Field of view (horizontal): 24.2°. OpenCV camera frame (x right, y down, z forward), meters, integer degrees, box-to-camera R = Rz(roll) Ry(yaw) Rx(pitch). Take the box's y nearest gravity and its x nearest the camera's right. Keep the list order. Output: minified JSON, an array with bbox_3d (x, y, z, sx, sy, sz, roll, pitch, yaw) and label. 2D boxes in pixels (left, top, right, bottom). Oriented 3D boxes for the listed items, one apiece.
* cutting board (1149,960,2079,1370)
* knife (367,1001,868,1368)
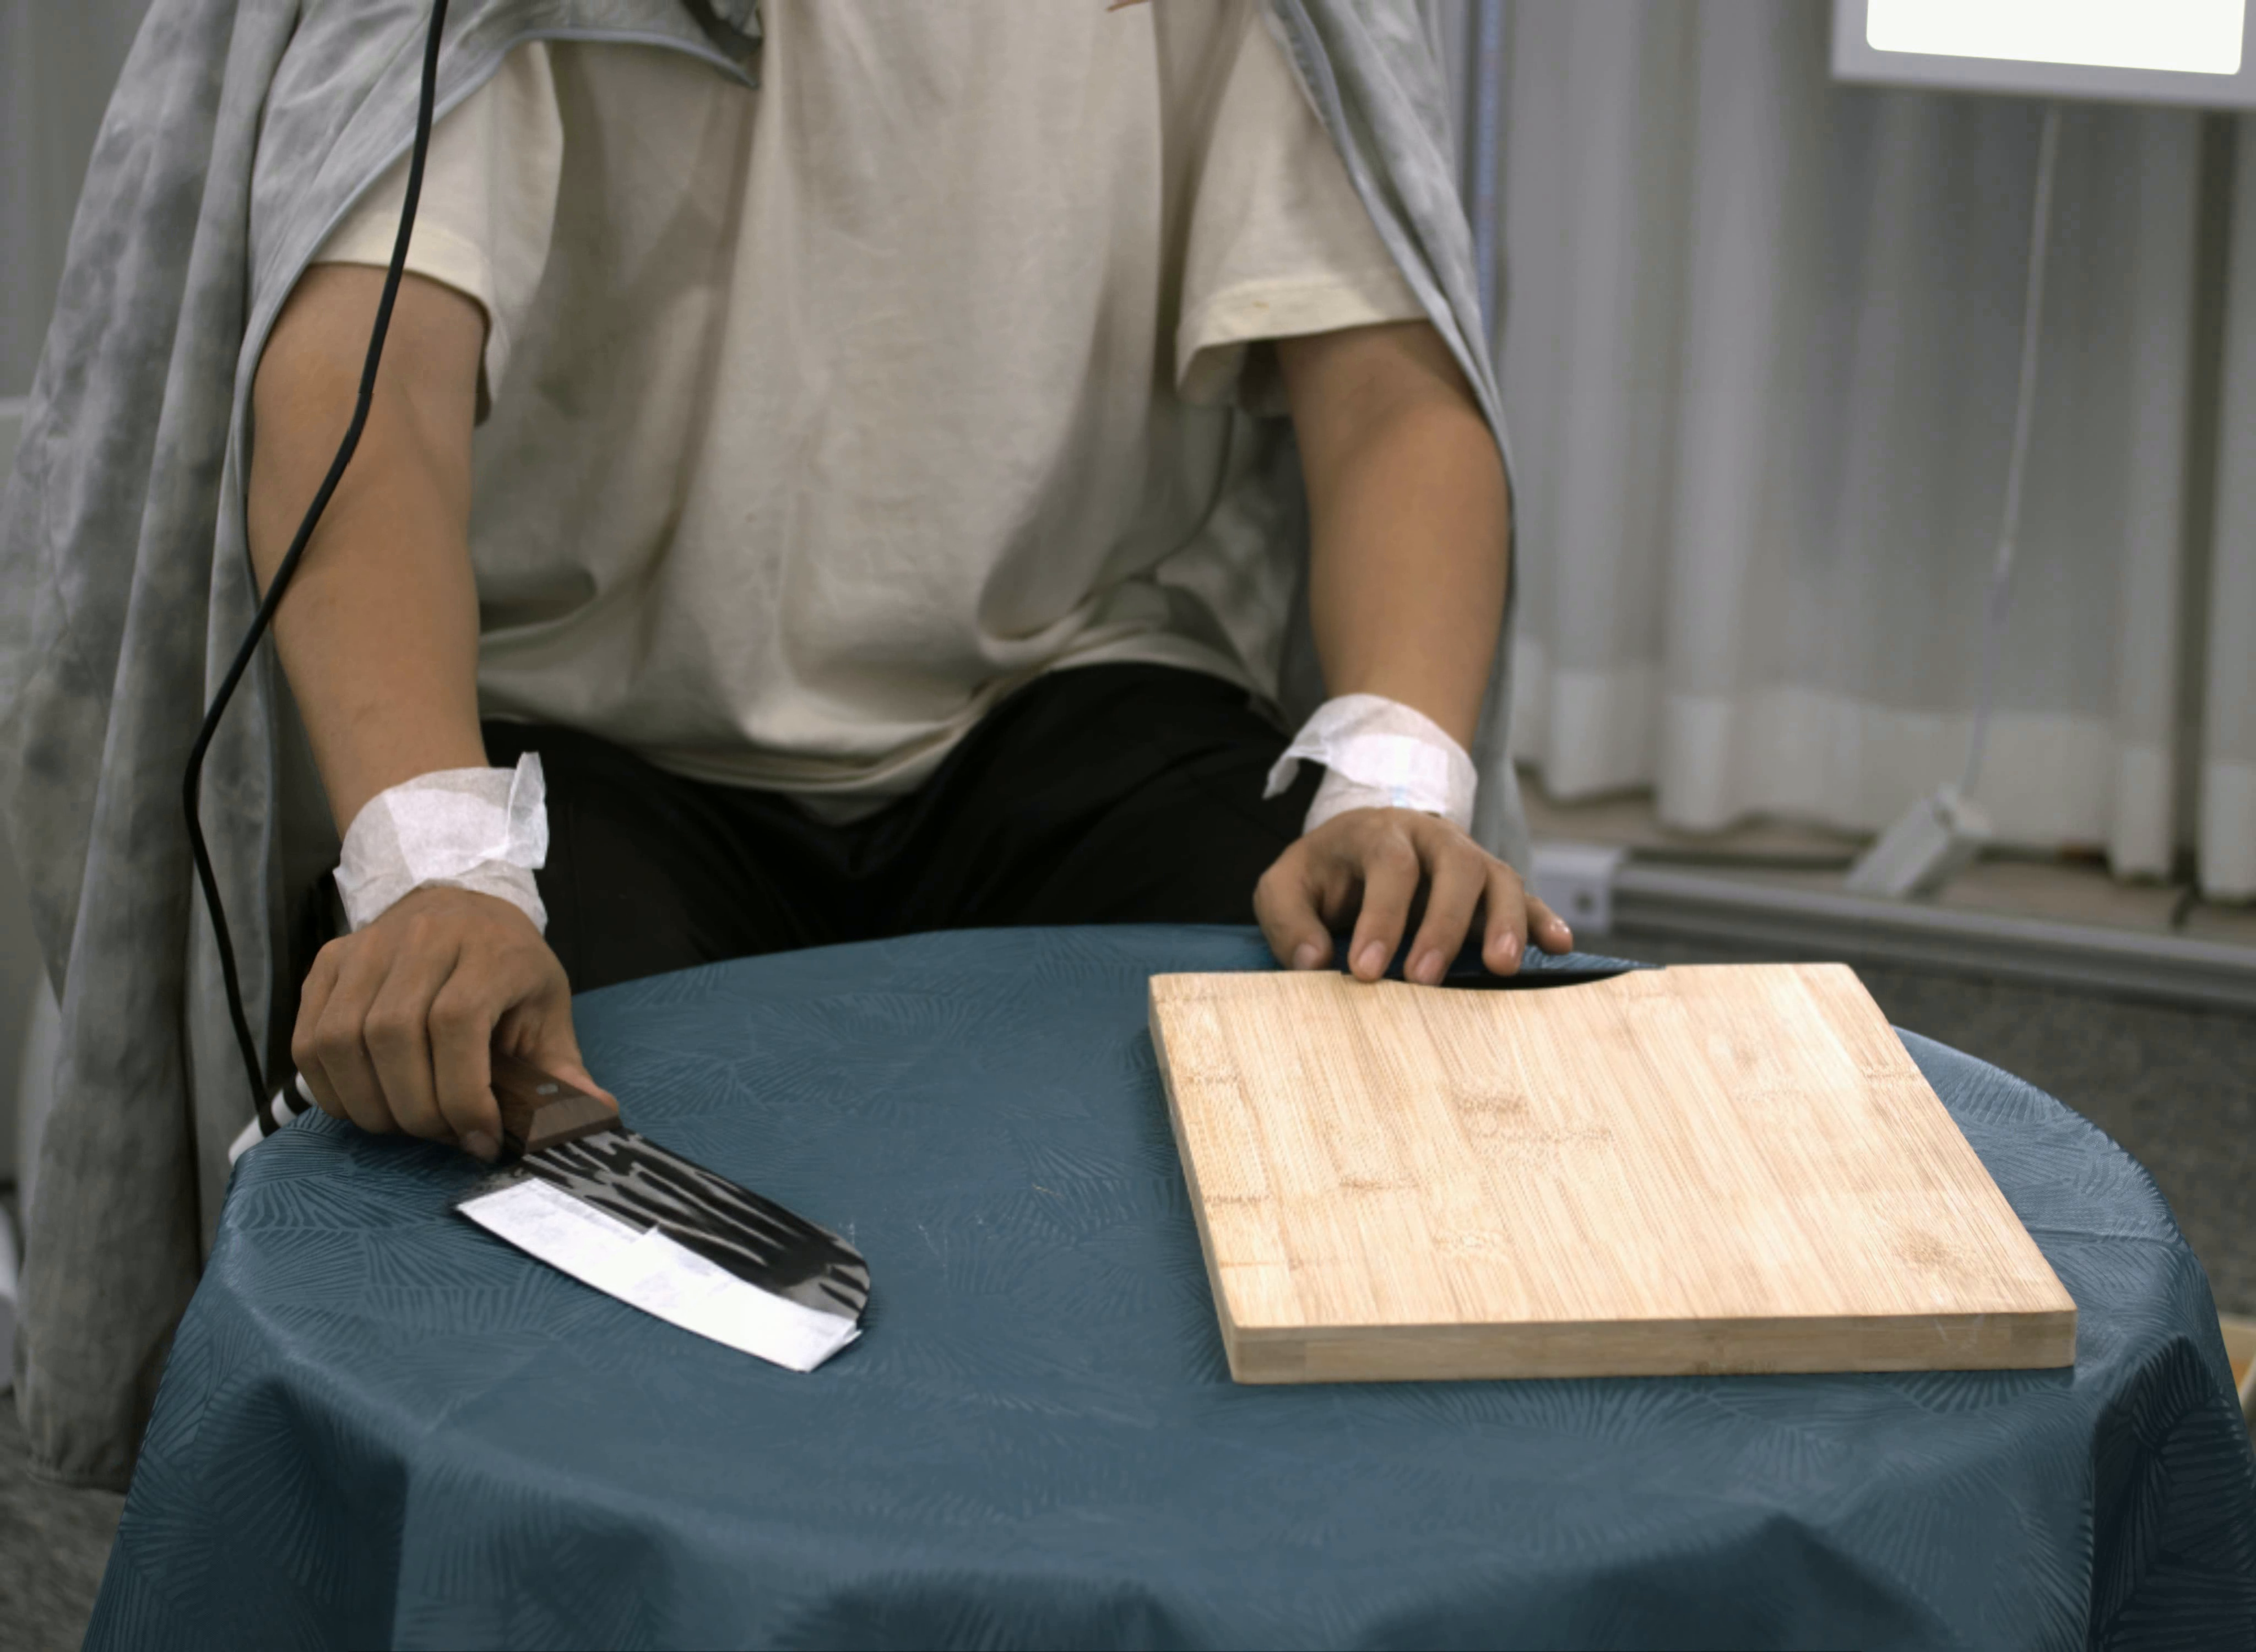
[{"bbox_3d":[0.138,0.101,1.643,0.250,0.024,0.346,0,15,-5],"label":"cutting board"},{"bbox_3d":[-0.166,0.108,1.596,0.068,0.024,0.295,-19,26,-34],"label":"knife"}]
